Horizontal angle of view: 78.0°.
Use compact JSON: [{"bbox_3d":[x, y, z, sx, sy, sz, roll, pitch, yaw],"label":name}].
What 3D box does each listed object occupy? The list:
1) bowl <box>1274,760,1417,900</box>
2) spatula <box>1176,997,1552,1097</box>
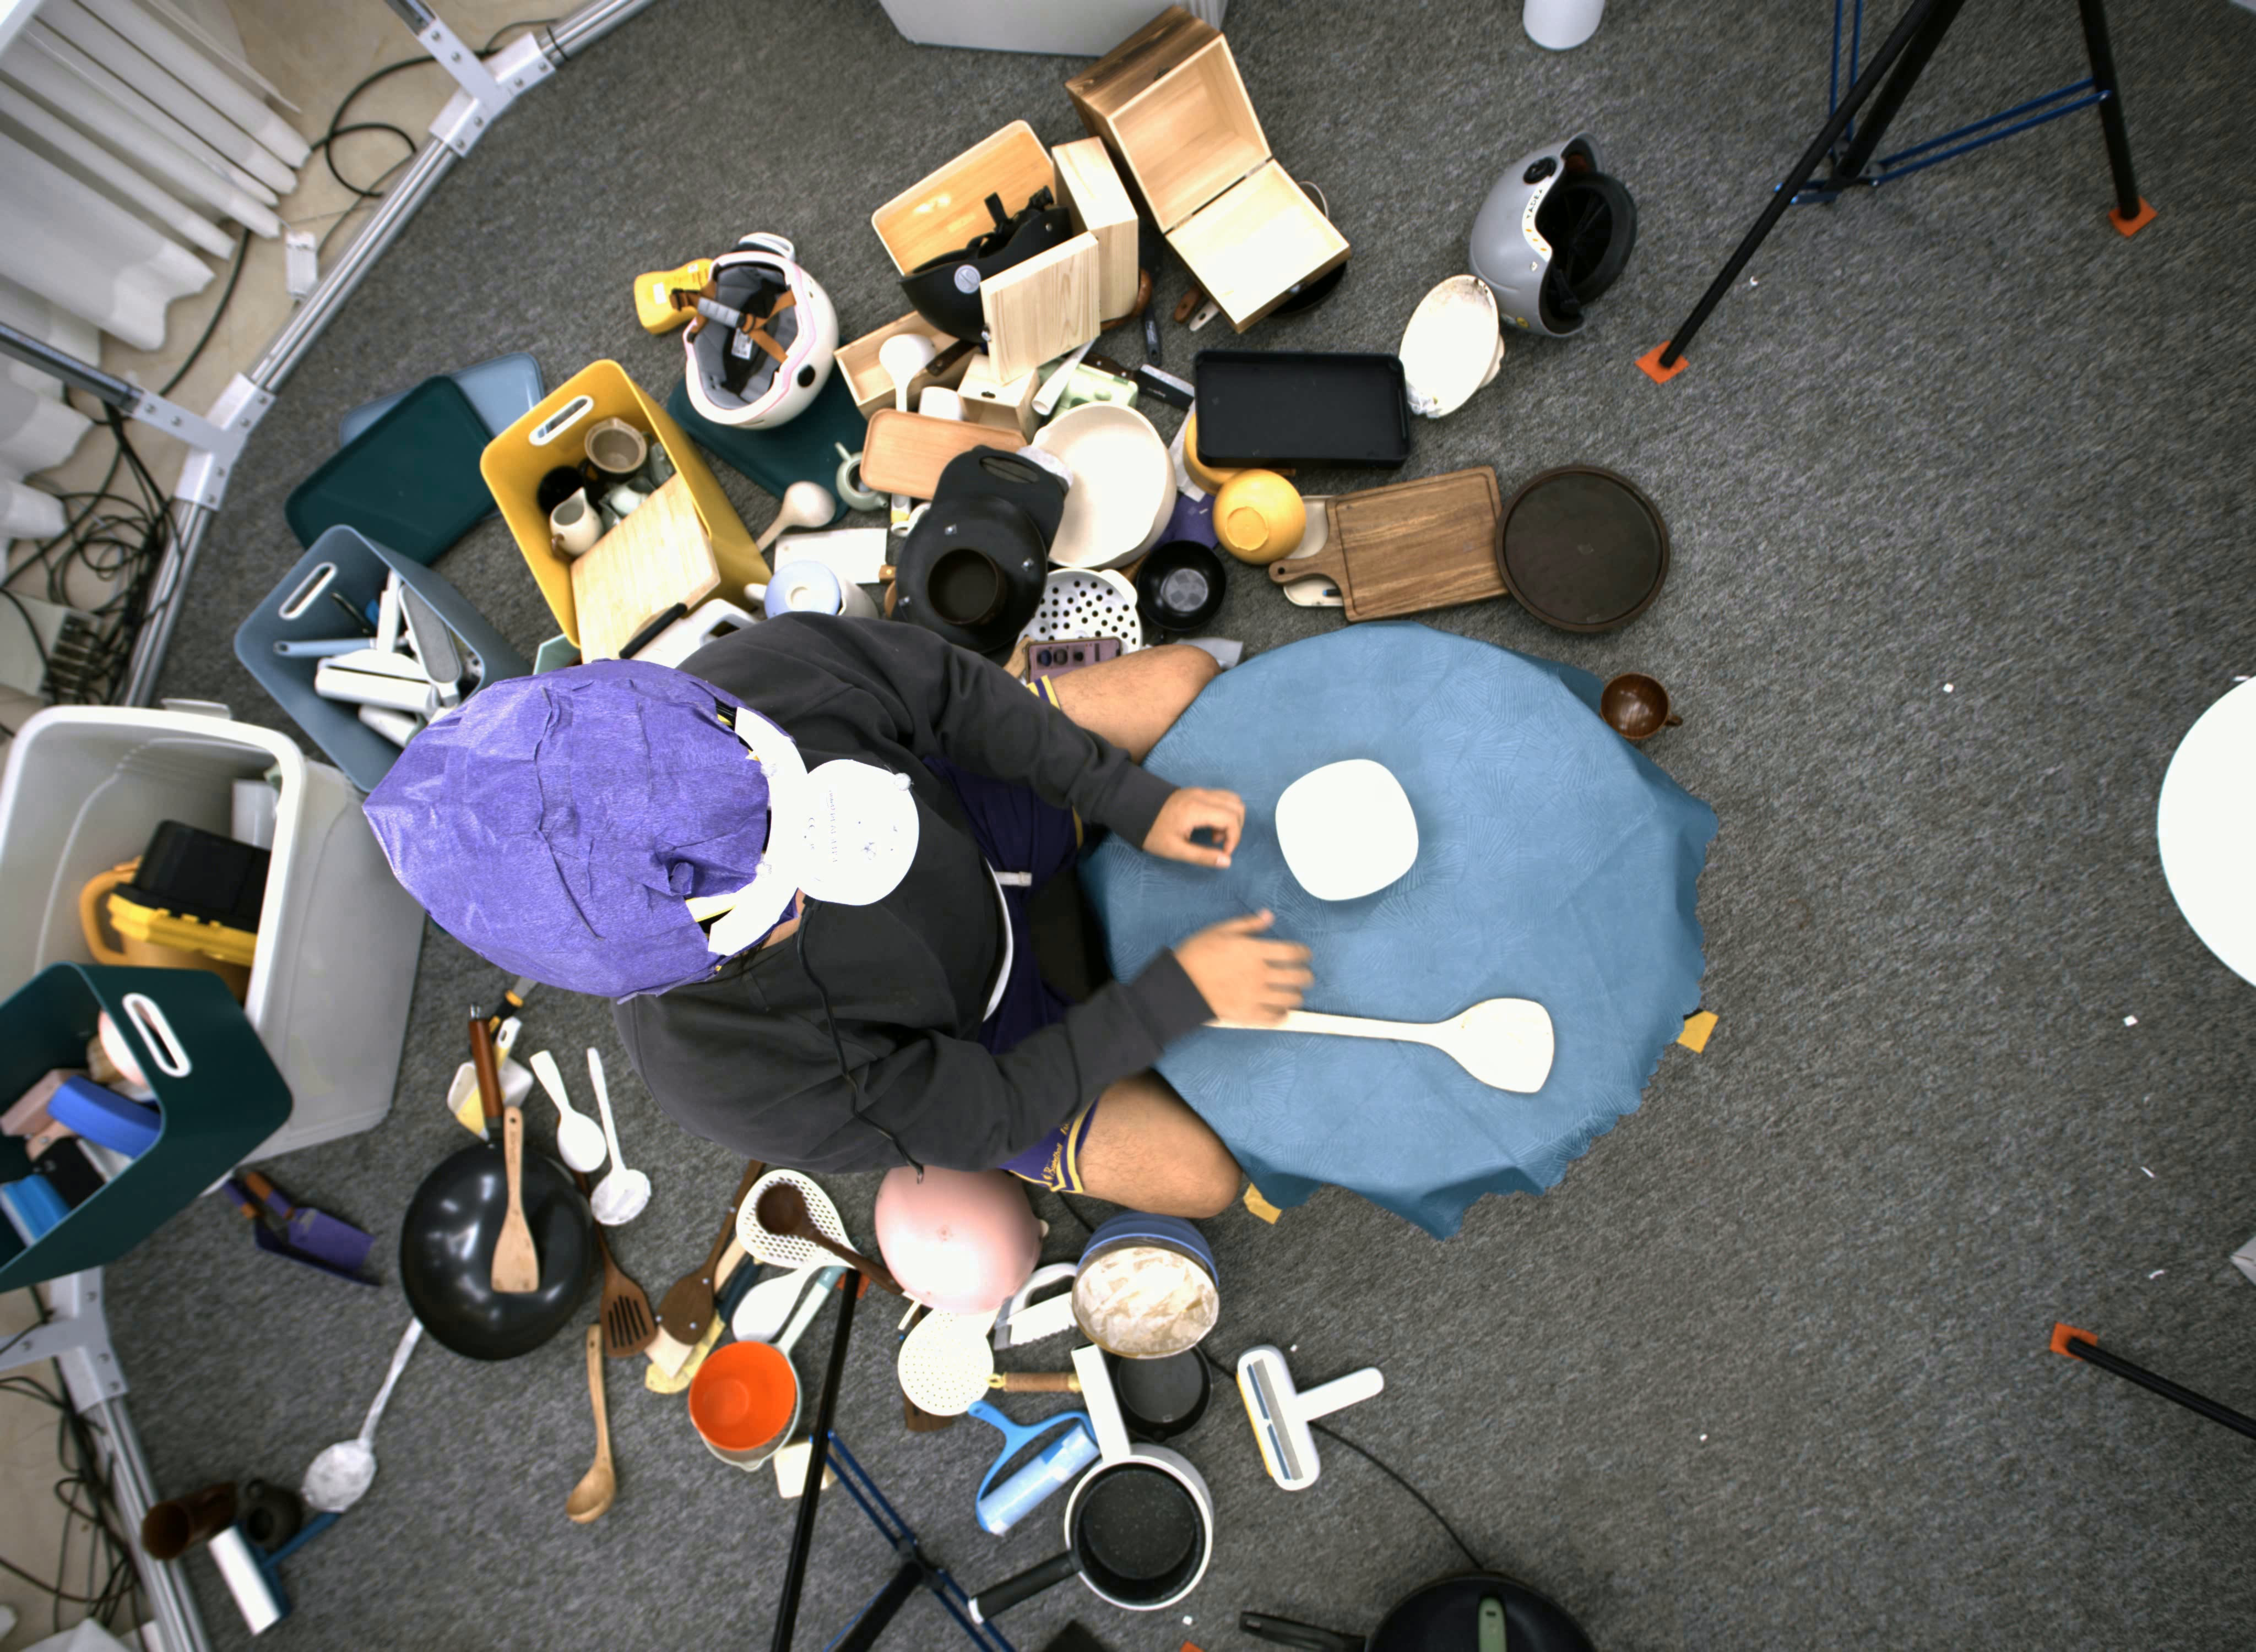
[{"bbox_3d":[0.227,0.005,1.443,0.152,0.059,0.150,-1,86,9],"label":"bowl"},{"bbox_3d":[0.242,0.215,1.448,0.392,0.018,0.095,5,86,10],"label":"spatula"}]
